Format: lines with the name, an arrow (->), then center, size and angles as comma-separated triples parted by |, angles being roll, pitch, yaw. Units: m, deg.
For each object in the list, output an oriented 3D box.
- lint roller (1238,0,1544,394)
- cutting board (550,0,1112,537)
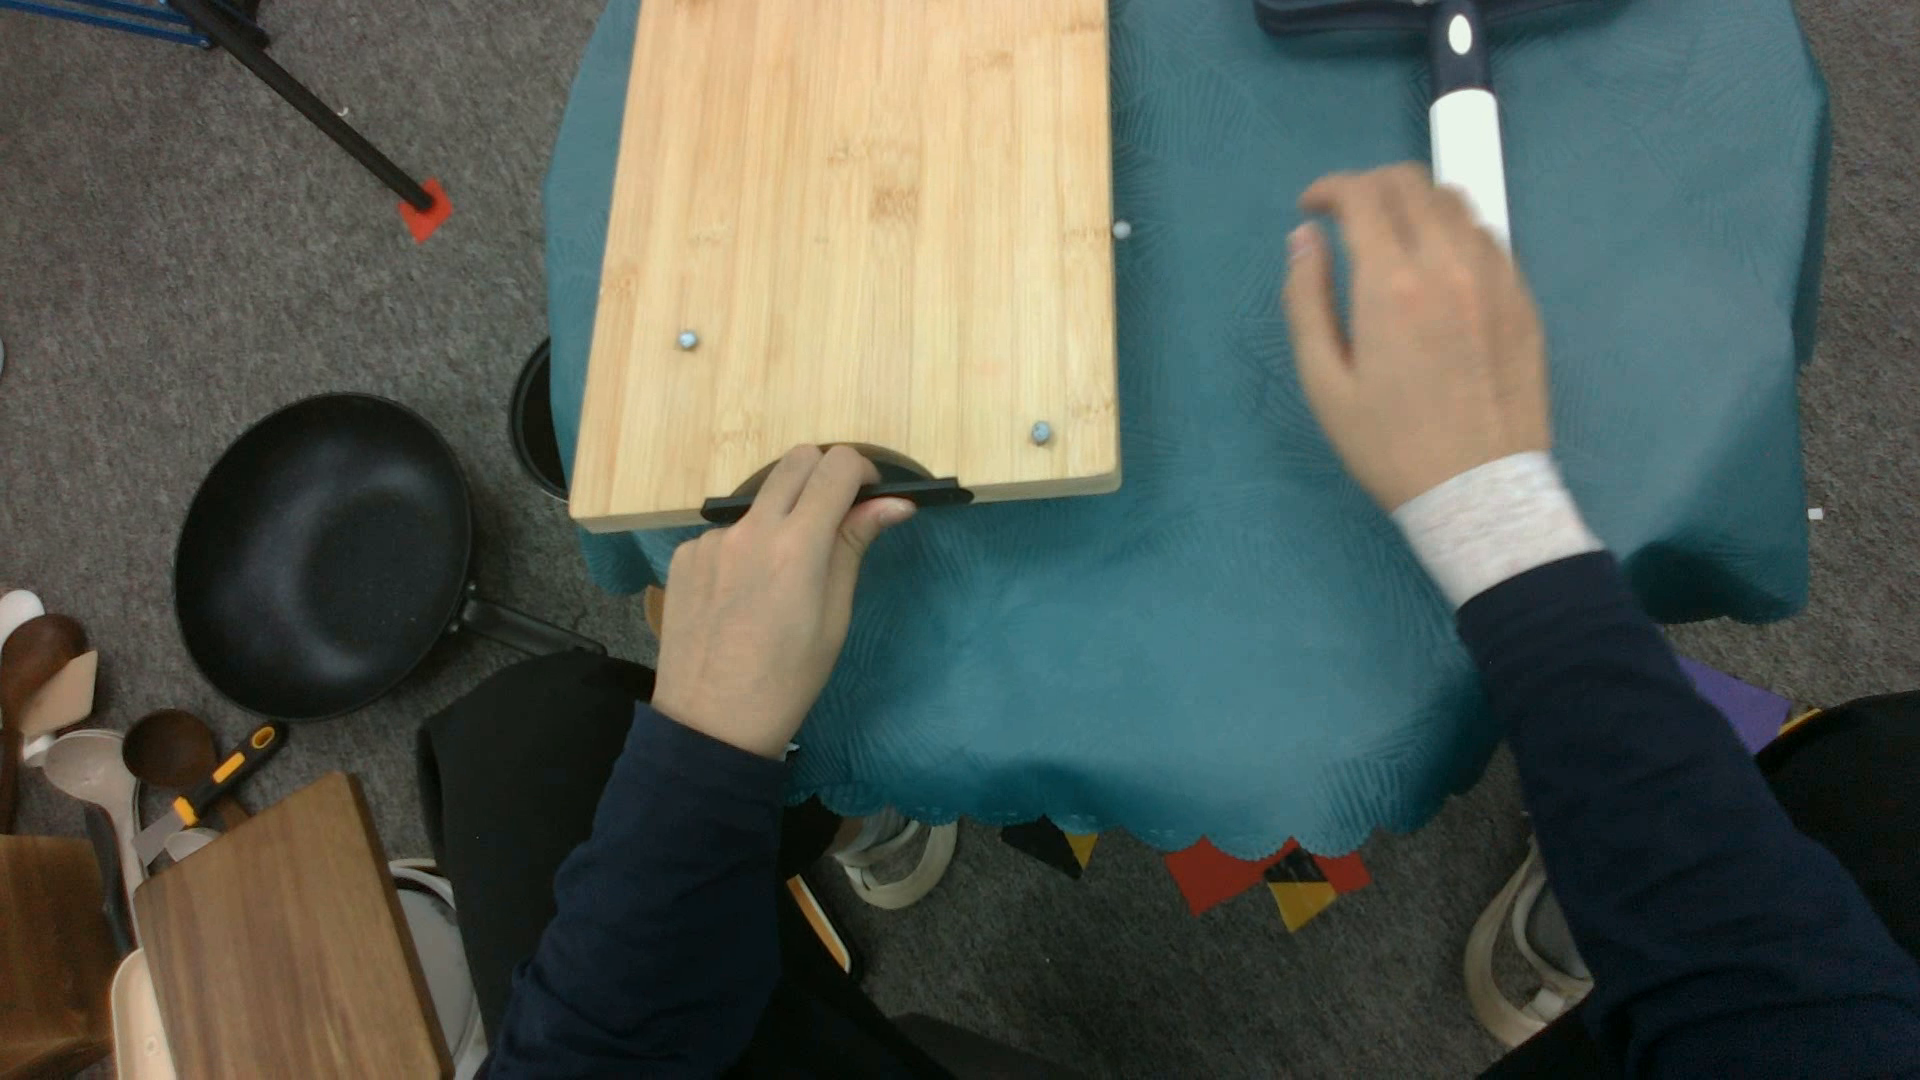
lint roller -> 0.215, -0.187, 0.604 | 0.176, 0.050, 0.247 | -4, 77, 11
cutting board -> -0.054, -0.170, 0.645 | 0.250, 0.023, 0.350 | -5, 66, 12
